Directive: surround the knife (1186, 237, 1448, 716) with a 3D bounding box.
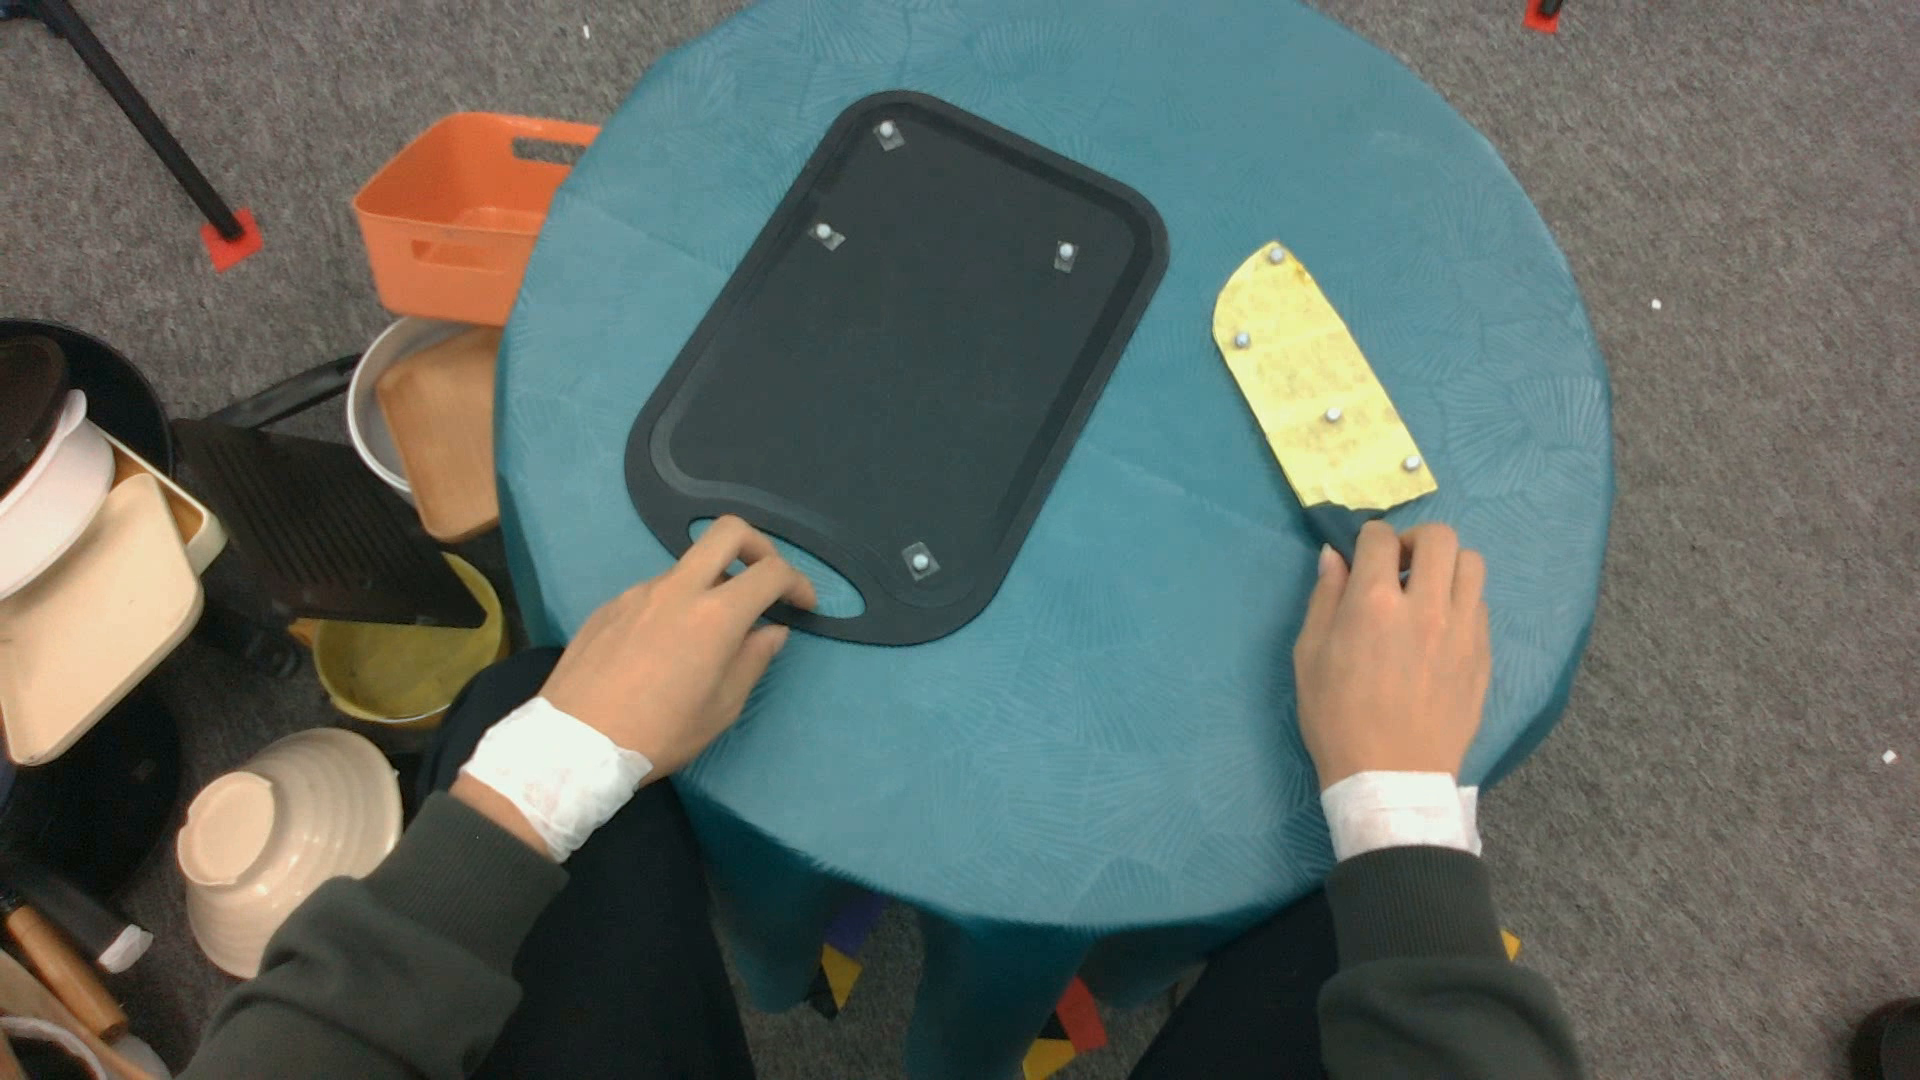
[{"bbox_3d":[0.196,-0.045,0.731,0.081,0.027,0.290,-16,69,-9],"label":"knife"}]

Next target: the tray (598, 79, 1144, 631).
[{"bbox_3d":[-0.044,-0.107,0.739,0.211,0.010,0.326,26,68,6],"label":"tray"}]
